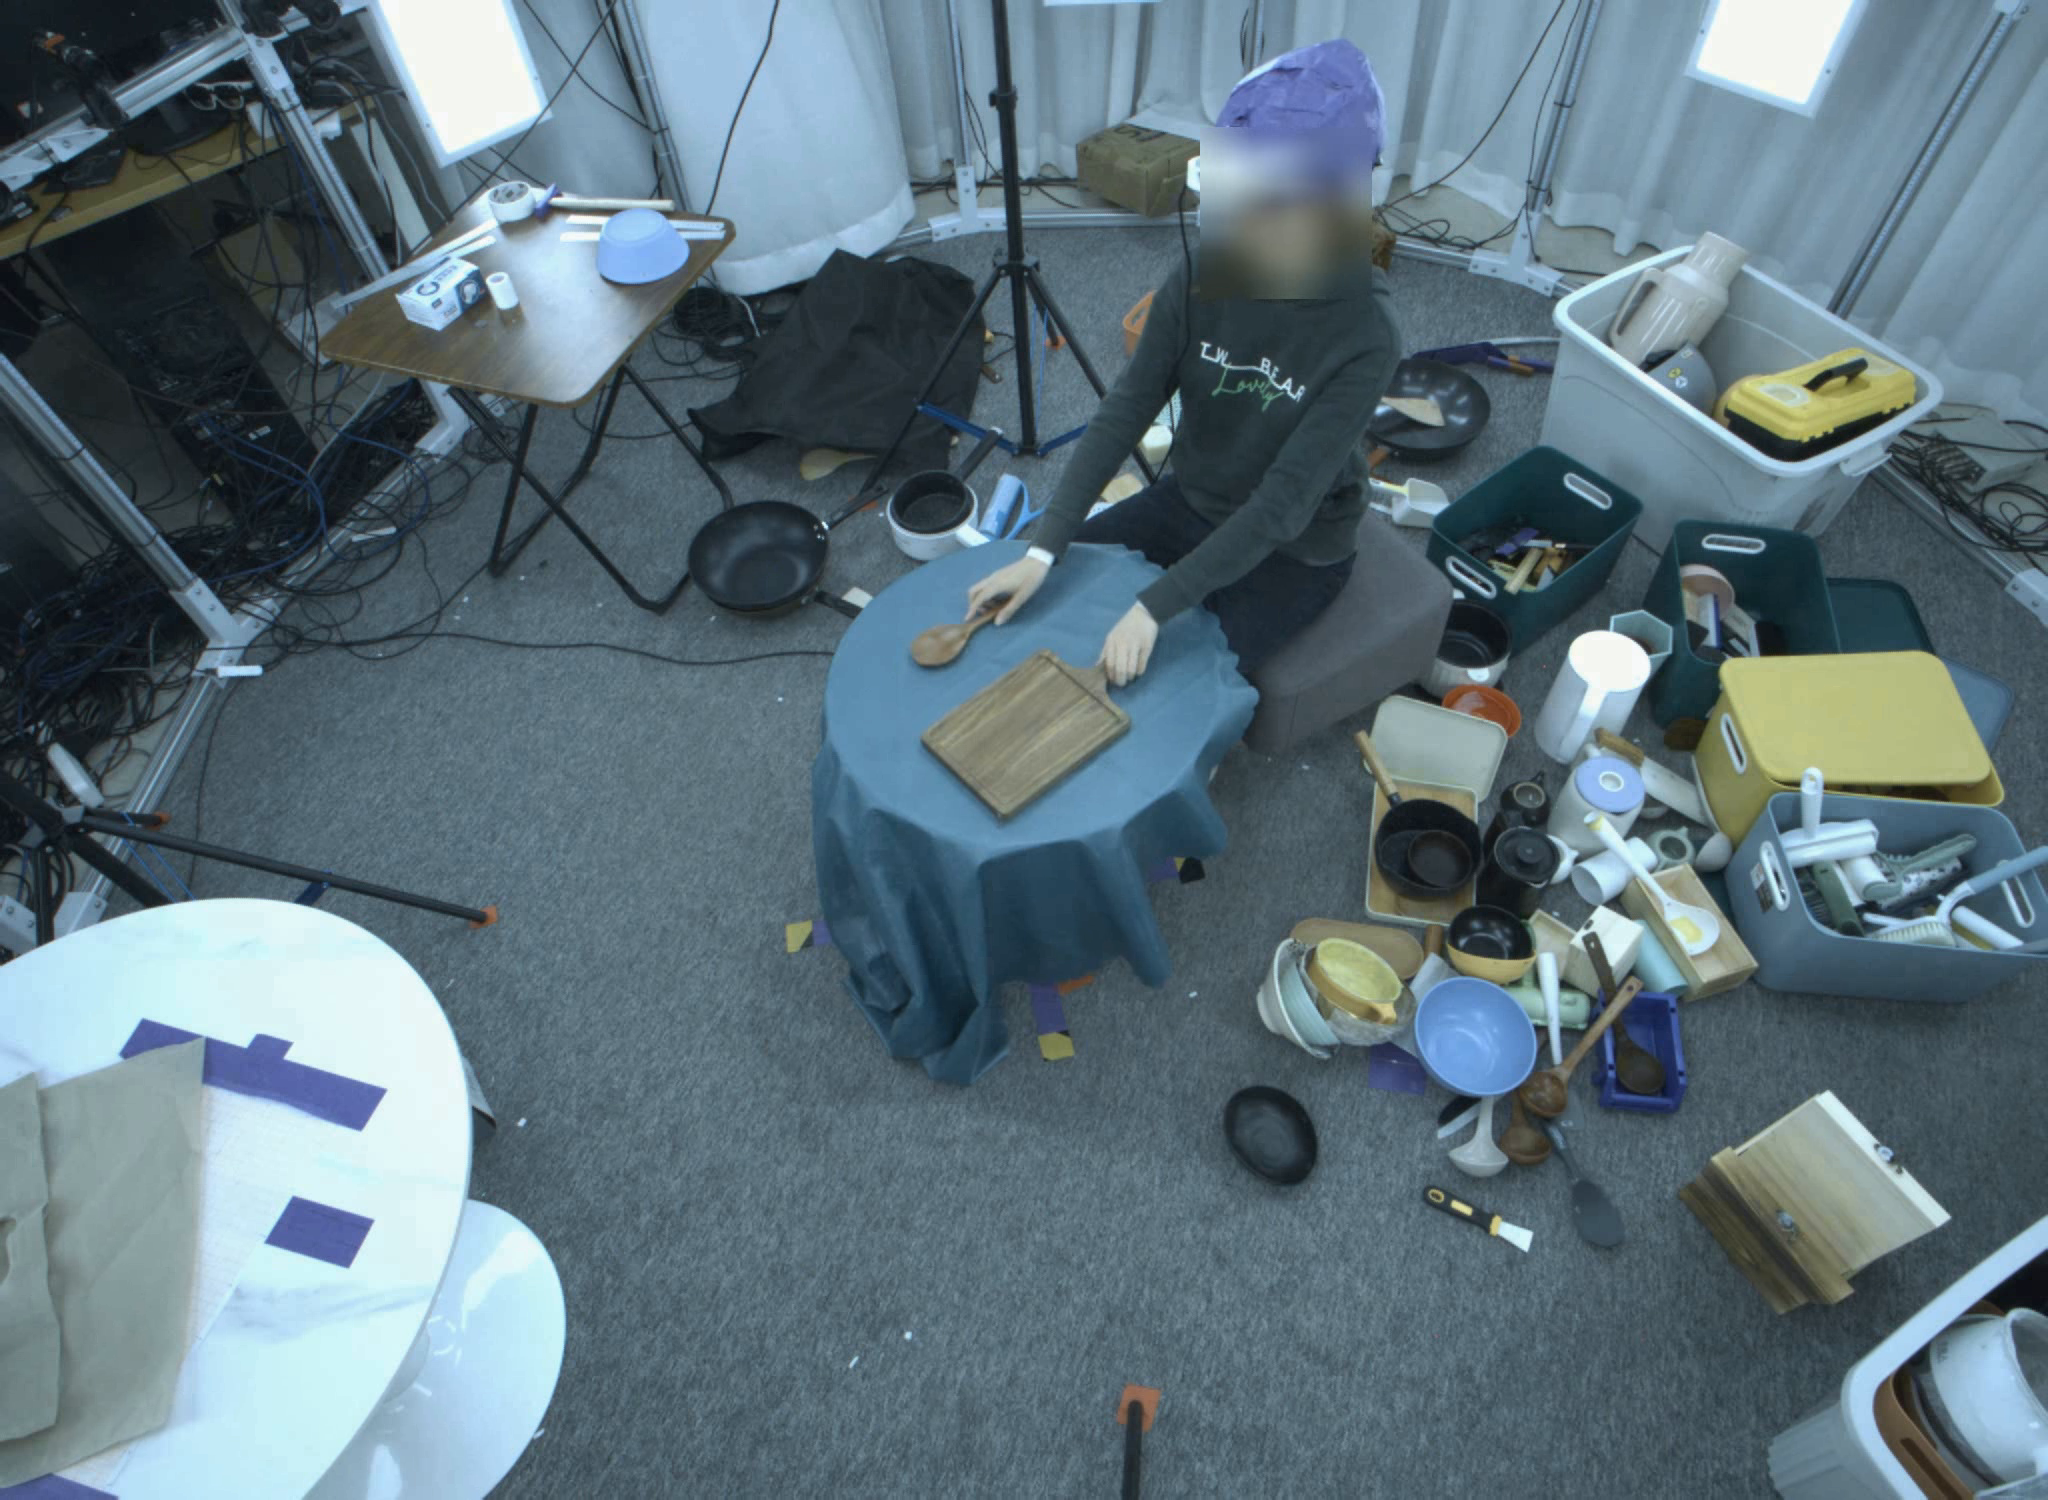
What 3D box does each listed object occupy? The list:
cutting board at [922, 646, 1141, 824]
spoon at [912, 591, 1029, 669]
[{"bbox_3d":[0.042,-0.050,1.822,0.355,0.023,0.197,-37,60,-22],"label":"cutting board"},{"bbox_3d":[-0.081,-0.189,1.922,0.217,0.017,0.074,-34,59,-20],"label":"spoon"}]
